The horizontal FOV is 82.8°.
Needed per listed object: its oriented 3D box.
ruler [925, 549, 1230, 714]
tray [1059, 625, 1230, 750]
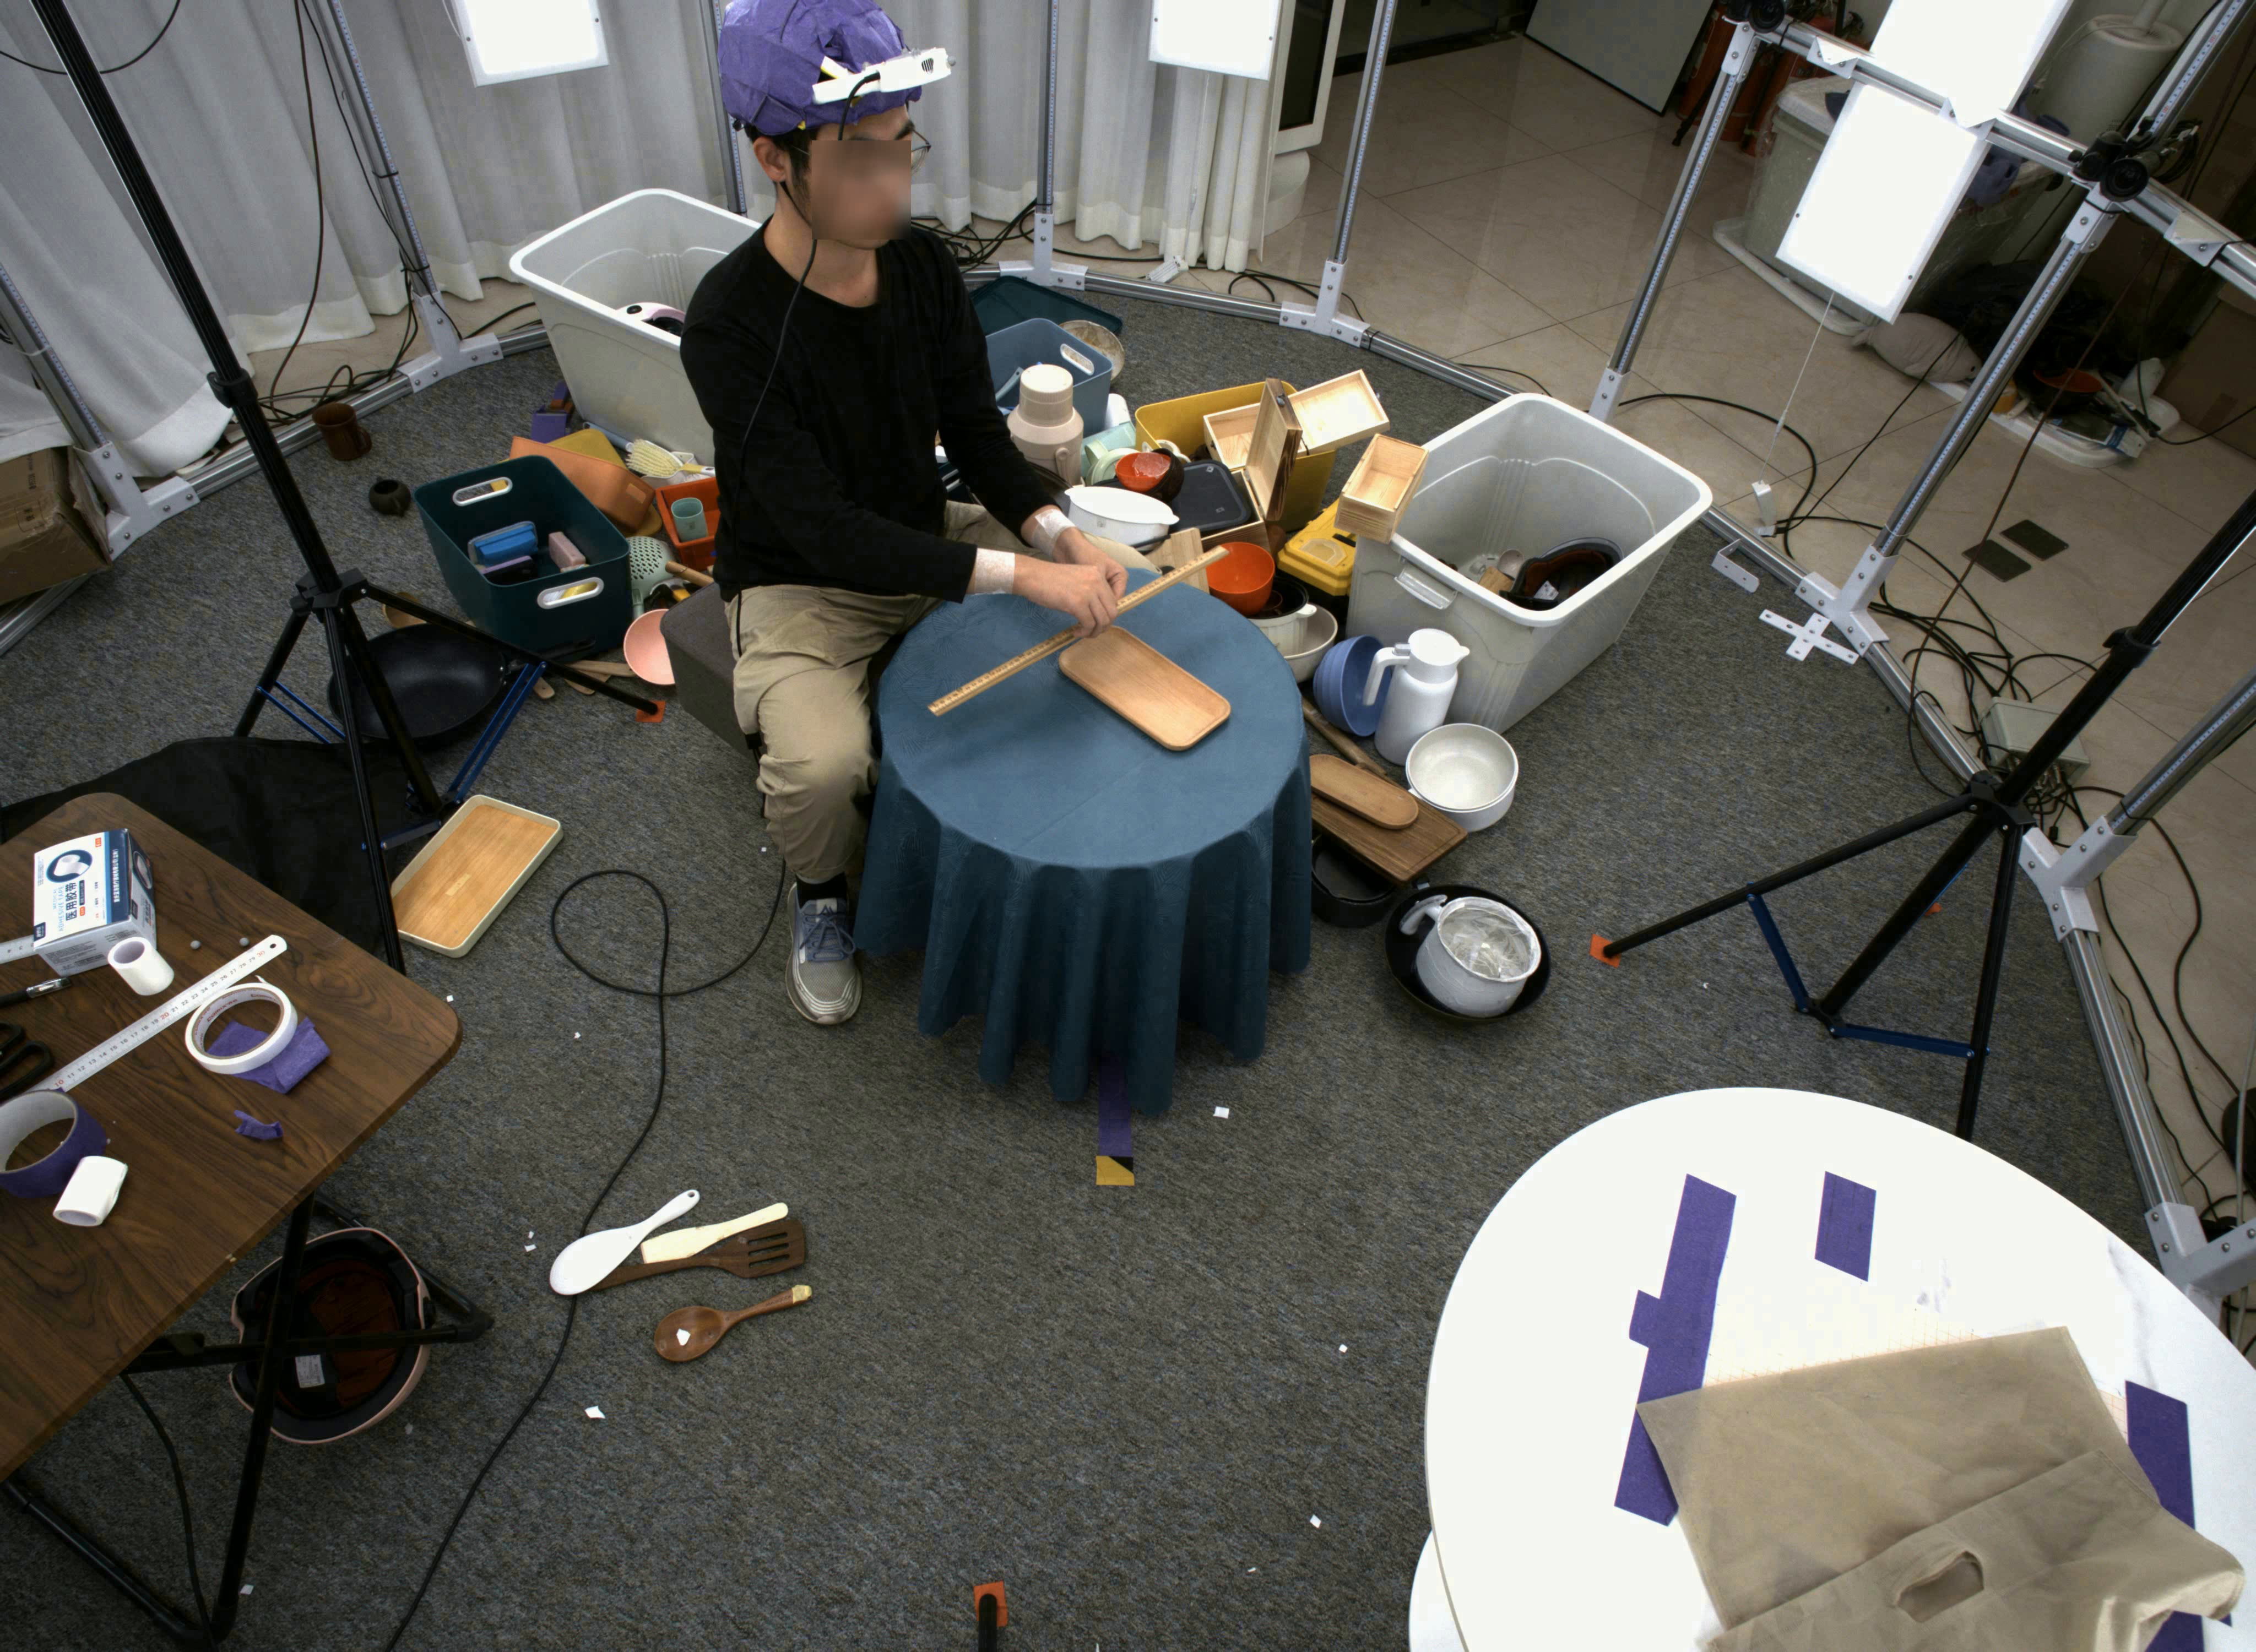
[{"bbox_3d":[-0.060,-0.275,1.774,0.503,0.006,0.027,-31,43,-21],"label":"ruler"},{"bbox_3d":[0.022,-0.201,1.835,0.132,0.022,0.254,-34,58,-31],"label":"tray"}]
